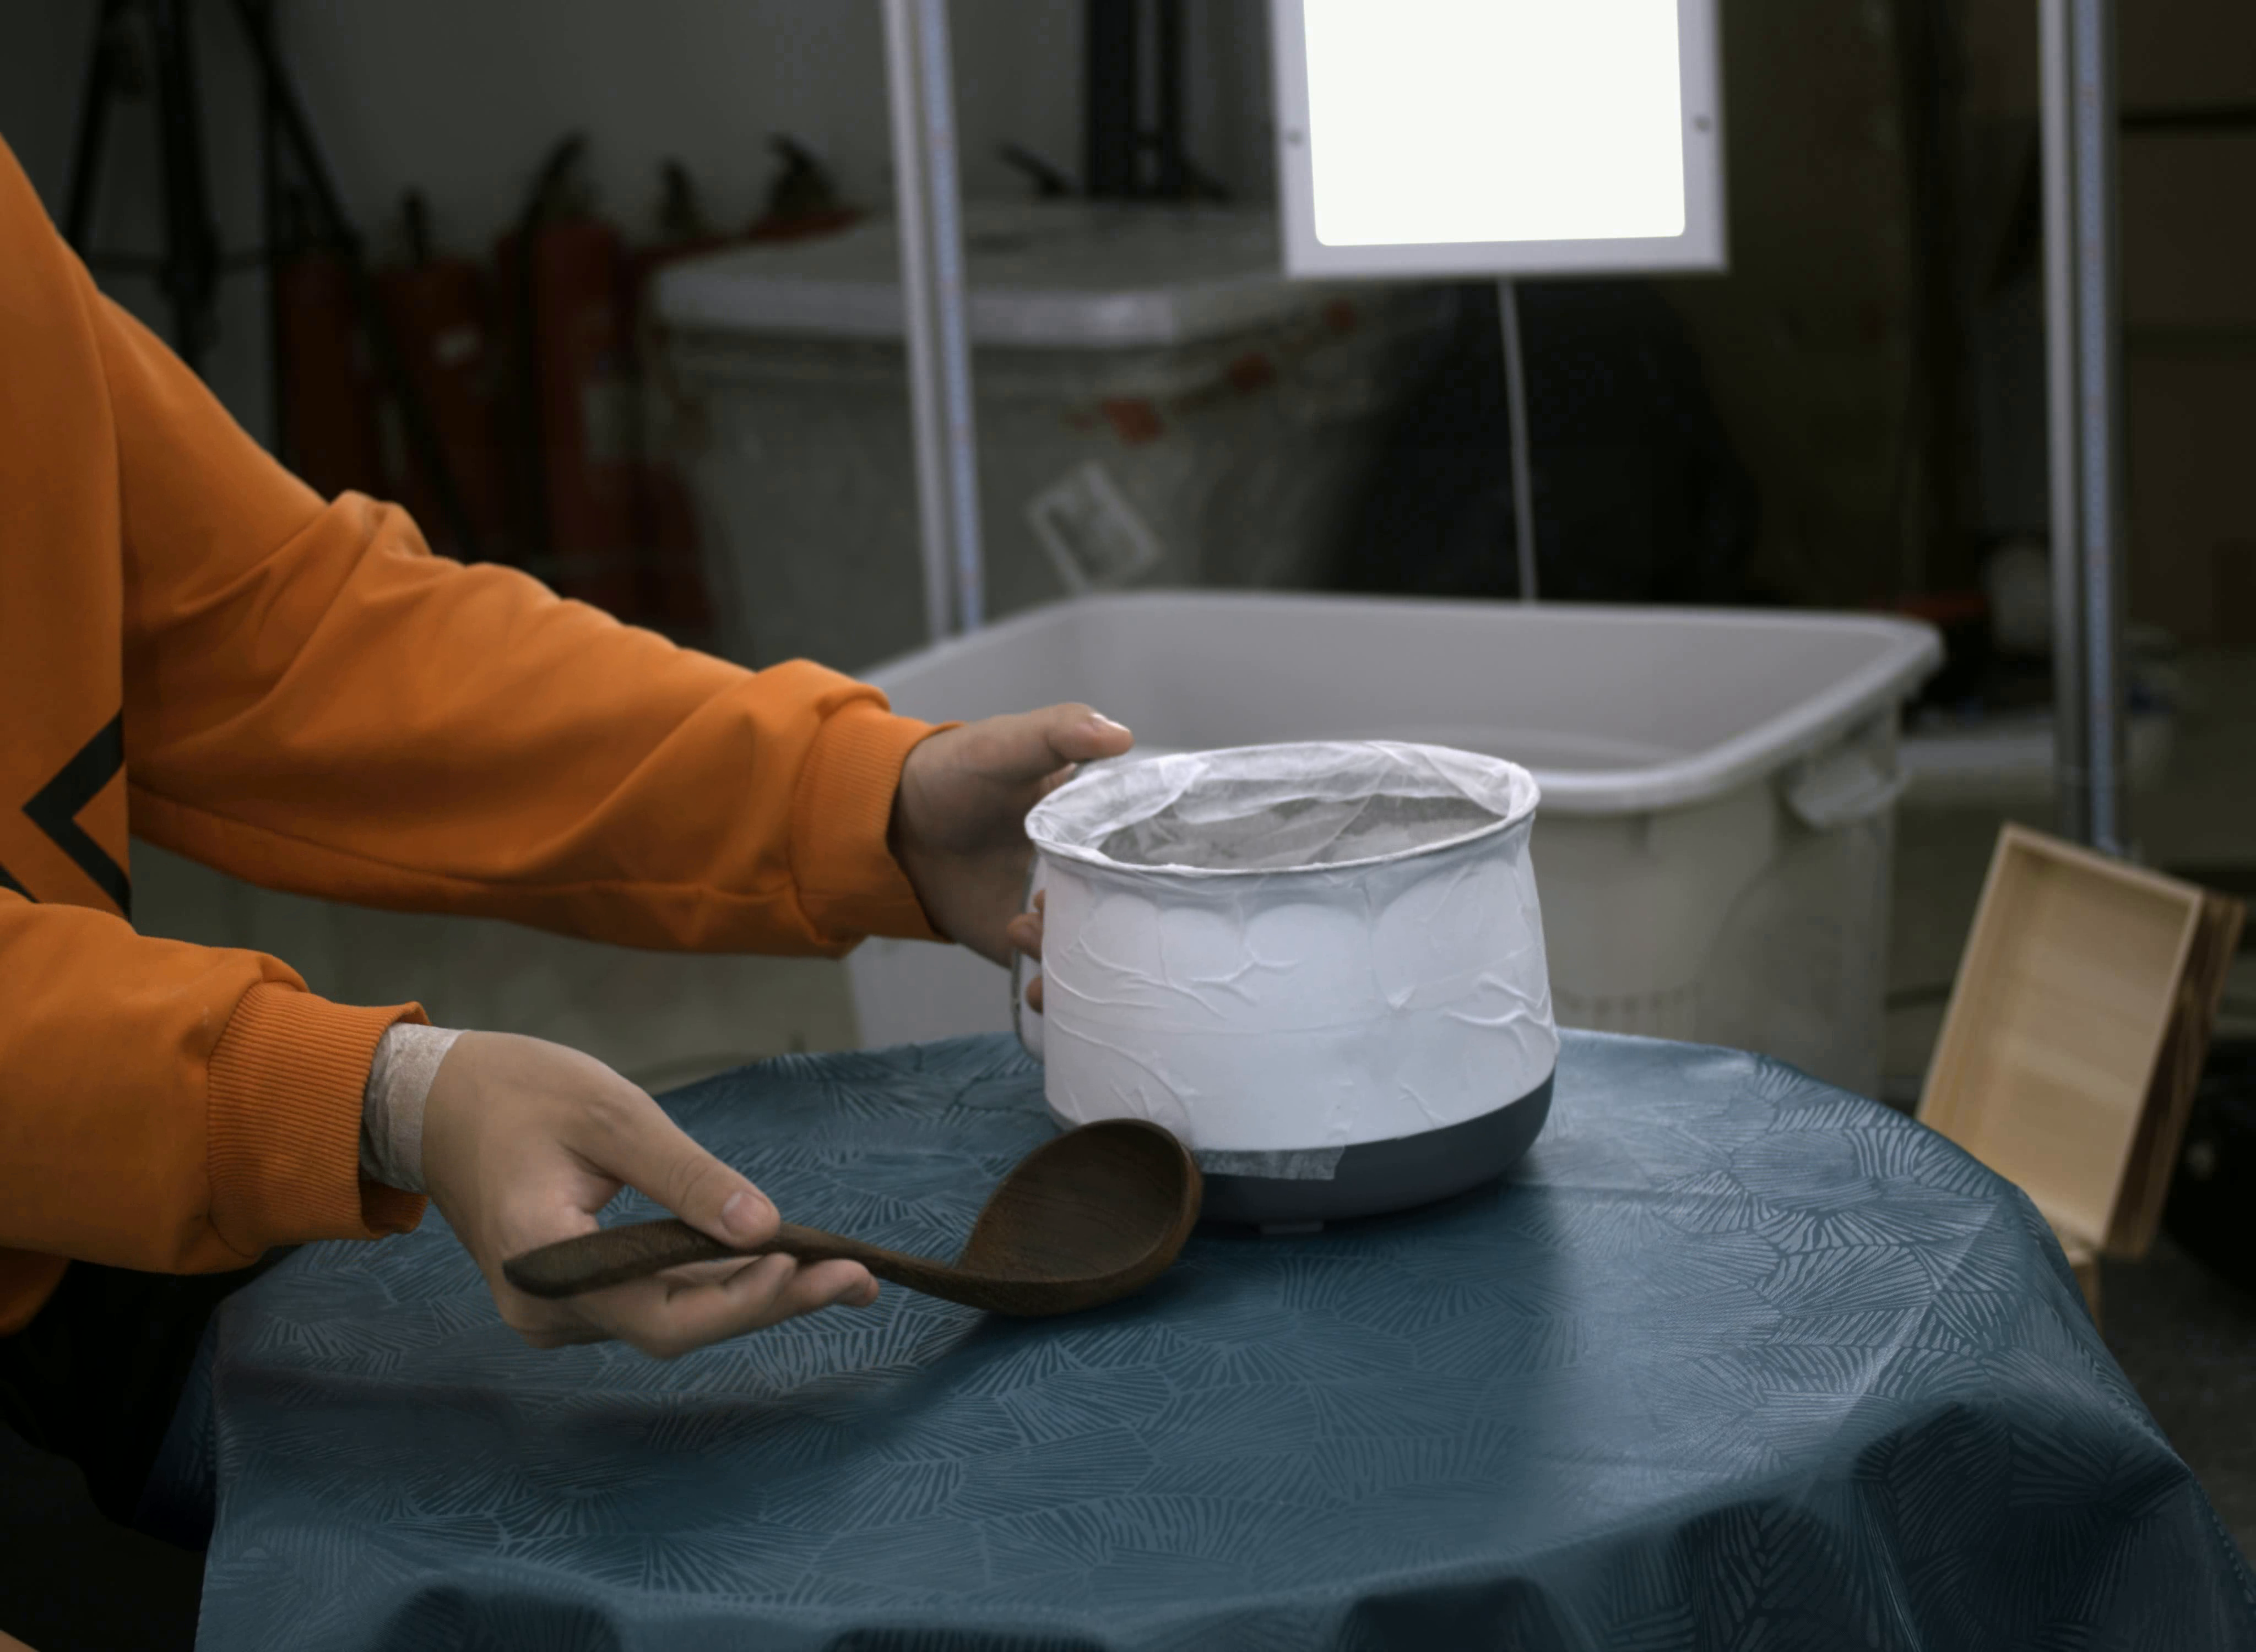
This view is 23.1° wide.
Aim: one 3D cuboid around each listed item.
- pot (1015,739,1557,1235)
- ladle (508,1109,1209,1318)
[{"bbox_3d":[0.040,0.049,1.907,0.174,0.137,0.238,-15,17,-37],"label":"pot"},{"bbox_3d":[-0.080,0.116,1.716,0.077,0.071,0.267,15,5,42],"label":"ladle"}]
